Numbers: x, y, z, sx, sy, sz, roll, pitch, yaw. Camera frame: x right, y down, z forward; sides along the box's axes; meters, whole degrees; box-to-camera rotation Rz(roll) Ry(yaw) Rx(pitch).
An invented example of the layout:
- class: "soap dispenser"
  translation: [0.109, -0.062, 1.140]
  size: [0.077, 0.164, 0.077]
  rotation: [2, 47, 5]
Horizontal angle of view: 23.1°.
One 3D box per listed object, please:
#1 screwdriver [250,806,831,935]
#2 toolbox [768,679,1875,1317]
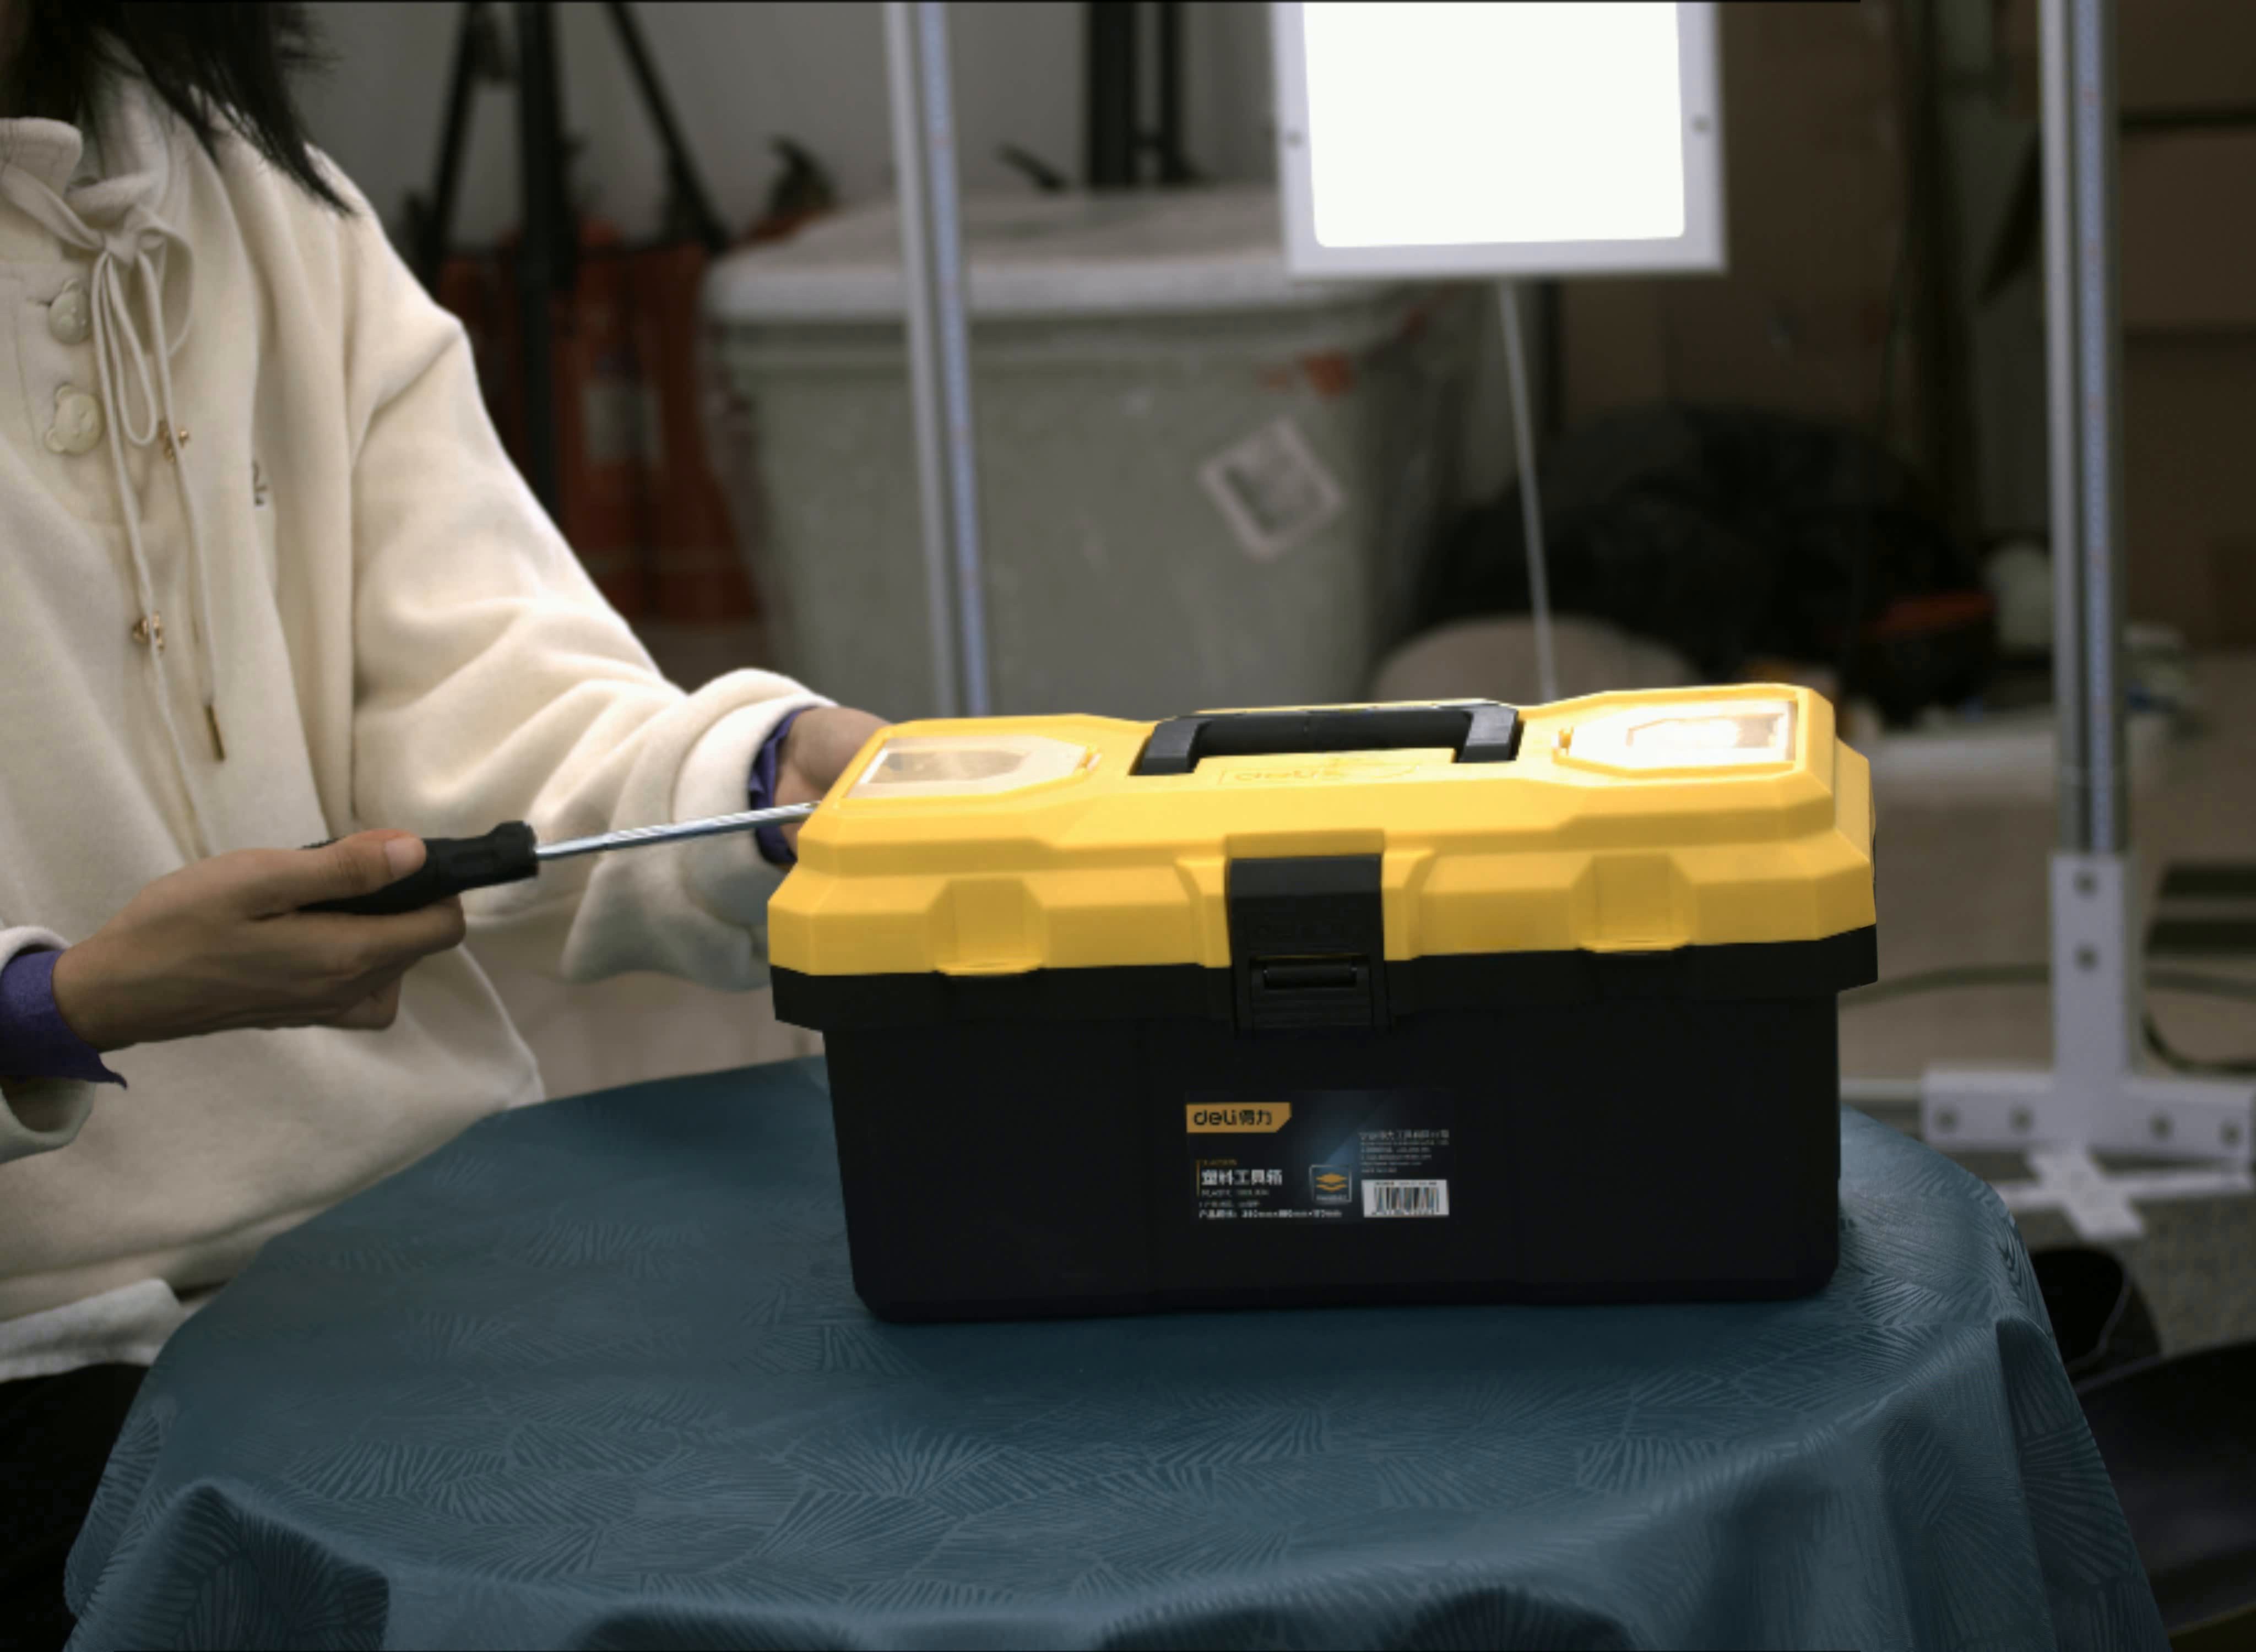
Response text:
- class: "screwdriver"
  translation: [-0.193, 0.014, 1.824]
  size: [0.196, 0.031, 0.031]
  rotation: [-6, 13, 6]
- class: "toolbox"
  translation: [0.069, 0.057, 1.792]
  size: [0.354, 0.173, 0.179]
  rotation: [-2, 14, 11]
